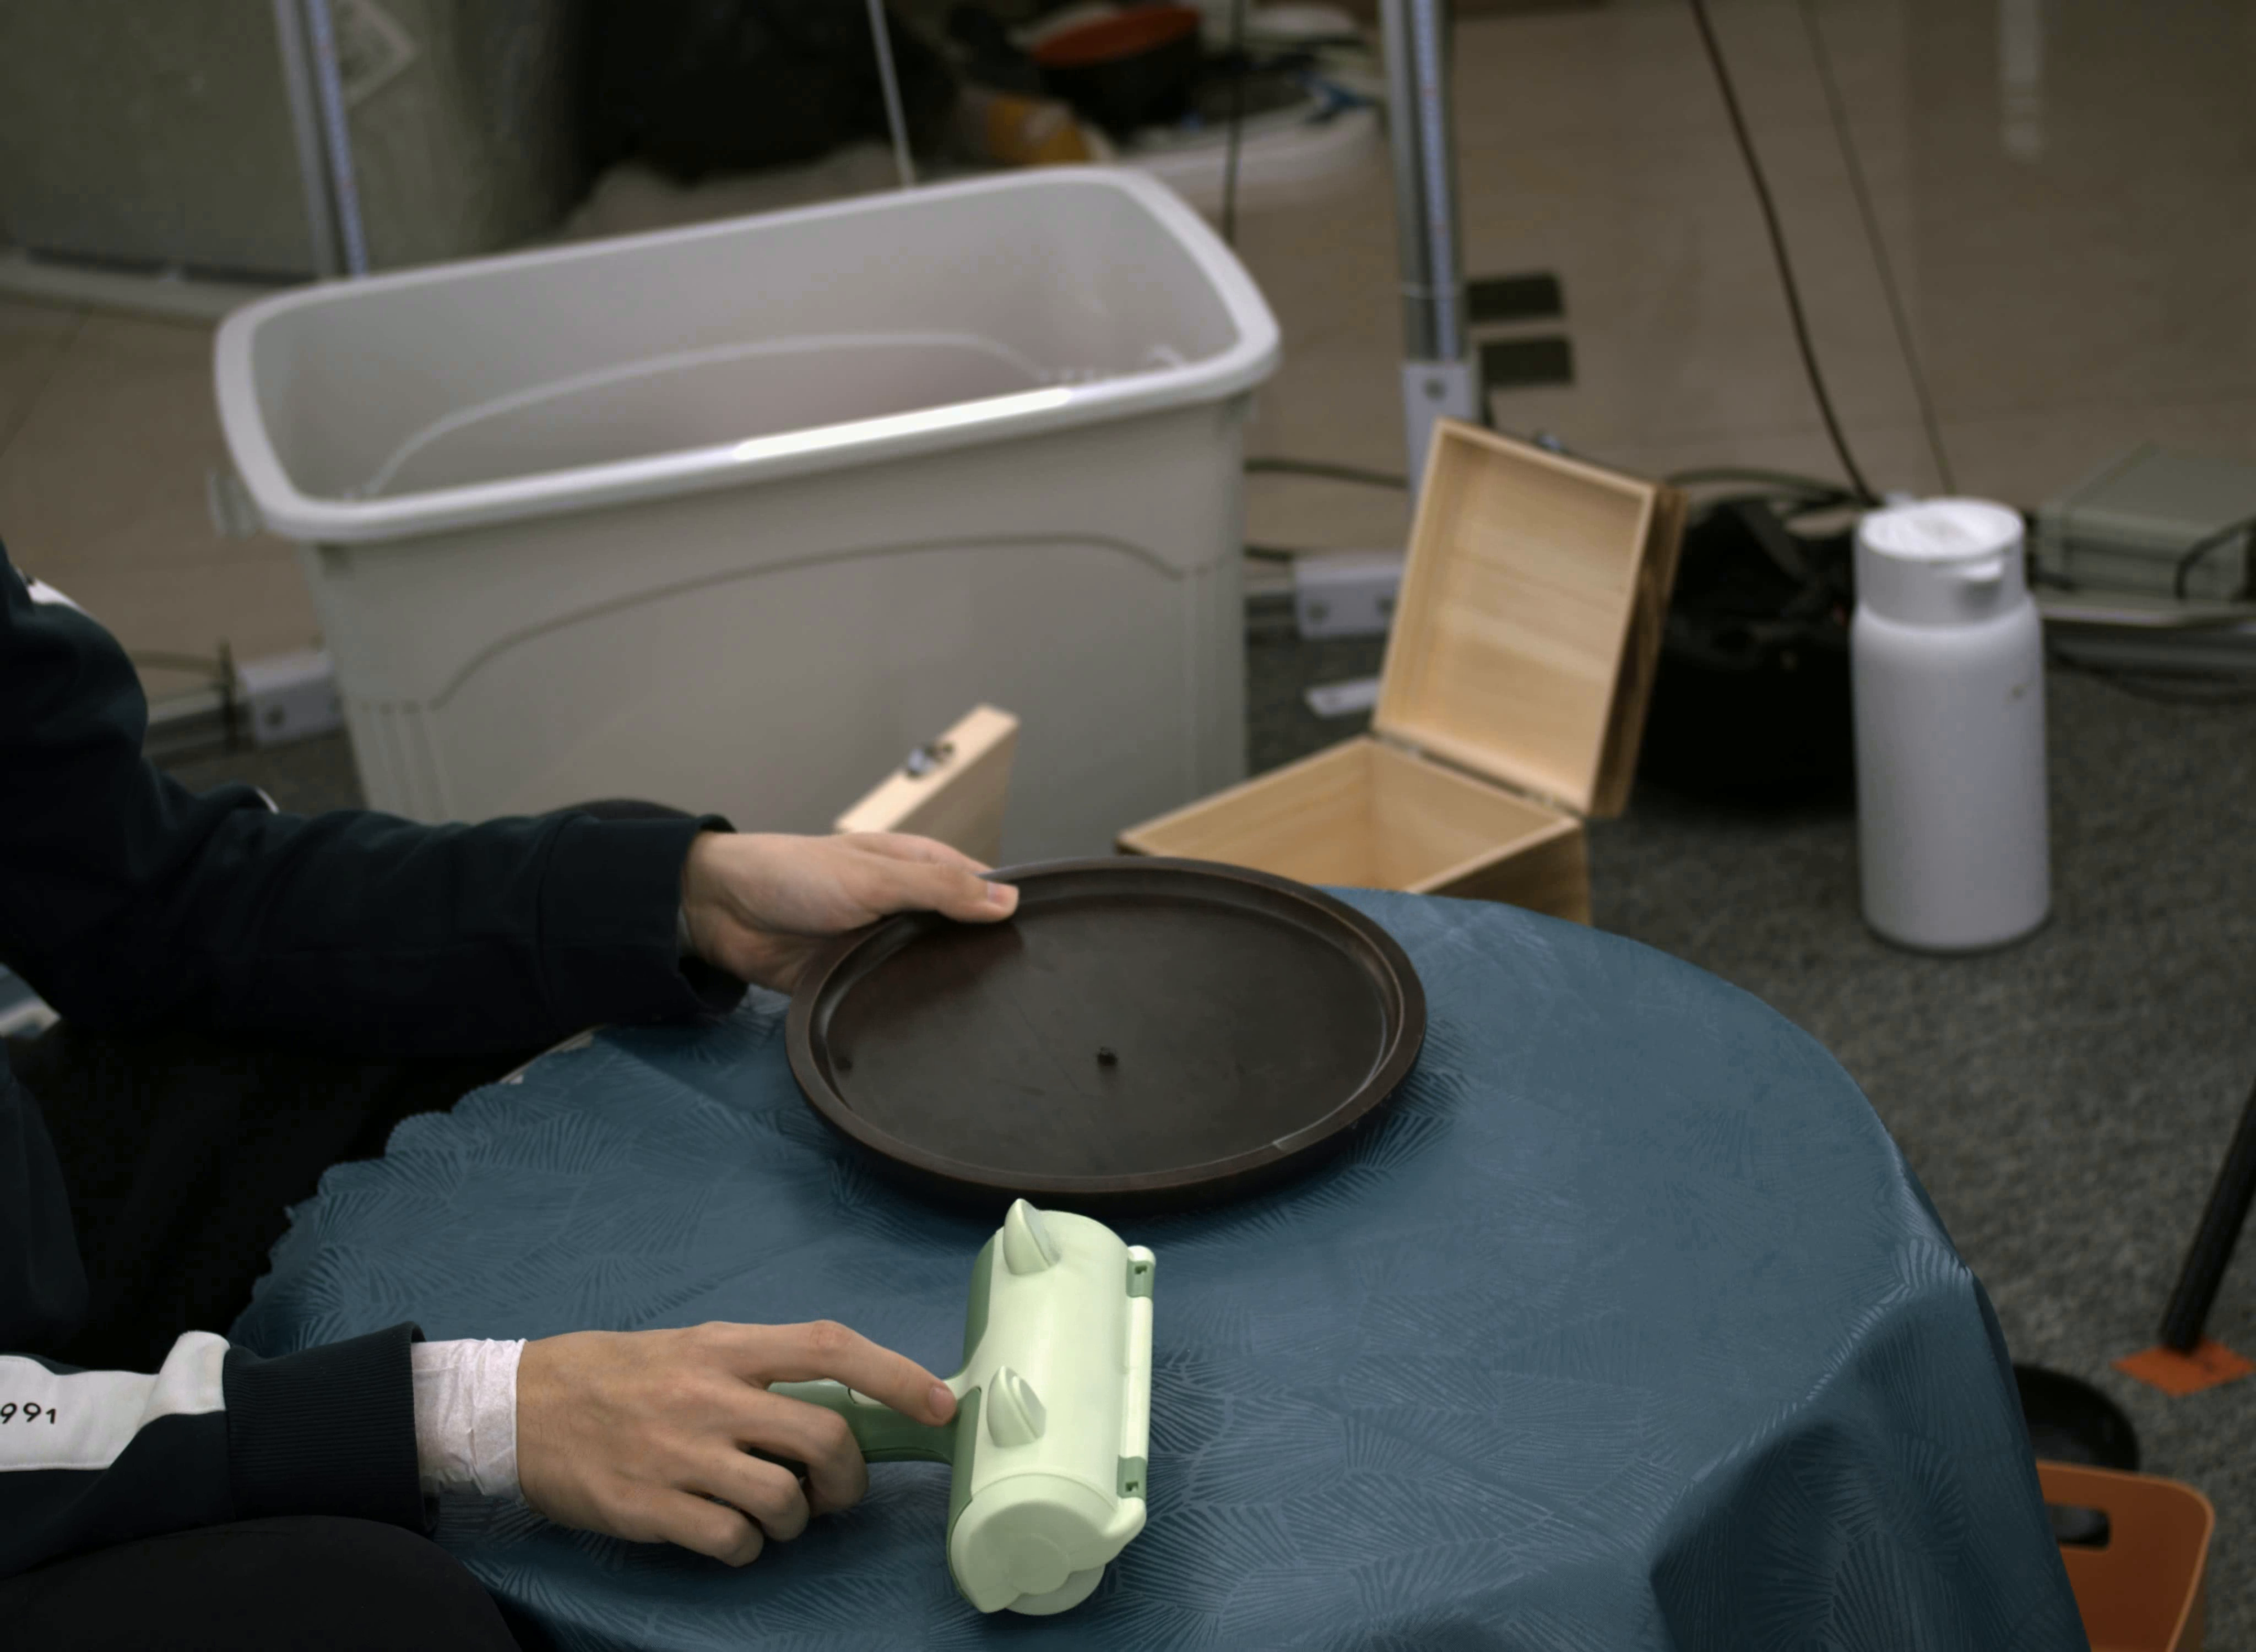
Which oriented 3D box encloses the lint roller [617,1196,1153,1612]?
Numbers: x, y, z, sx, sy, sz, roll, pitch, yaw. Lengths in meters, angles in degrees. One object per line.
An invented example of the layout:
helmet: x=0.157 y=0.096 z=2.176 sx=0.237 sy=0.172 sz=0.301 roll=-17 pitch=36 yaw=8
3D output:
lint roller: x=-0.085 y=0.190 z=1.949 sx=0.183 sy=0.083 sz=0.195 roll=2 pitch=25 yaw=1

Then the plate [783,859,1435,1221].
plate: x=-0.007 y=0.082 z=2.214 sx=0.254 sy=0.029 sz=0.250 roll=-1 pitch=31 yaw=1
